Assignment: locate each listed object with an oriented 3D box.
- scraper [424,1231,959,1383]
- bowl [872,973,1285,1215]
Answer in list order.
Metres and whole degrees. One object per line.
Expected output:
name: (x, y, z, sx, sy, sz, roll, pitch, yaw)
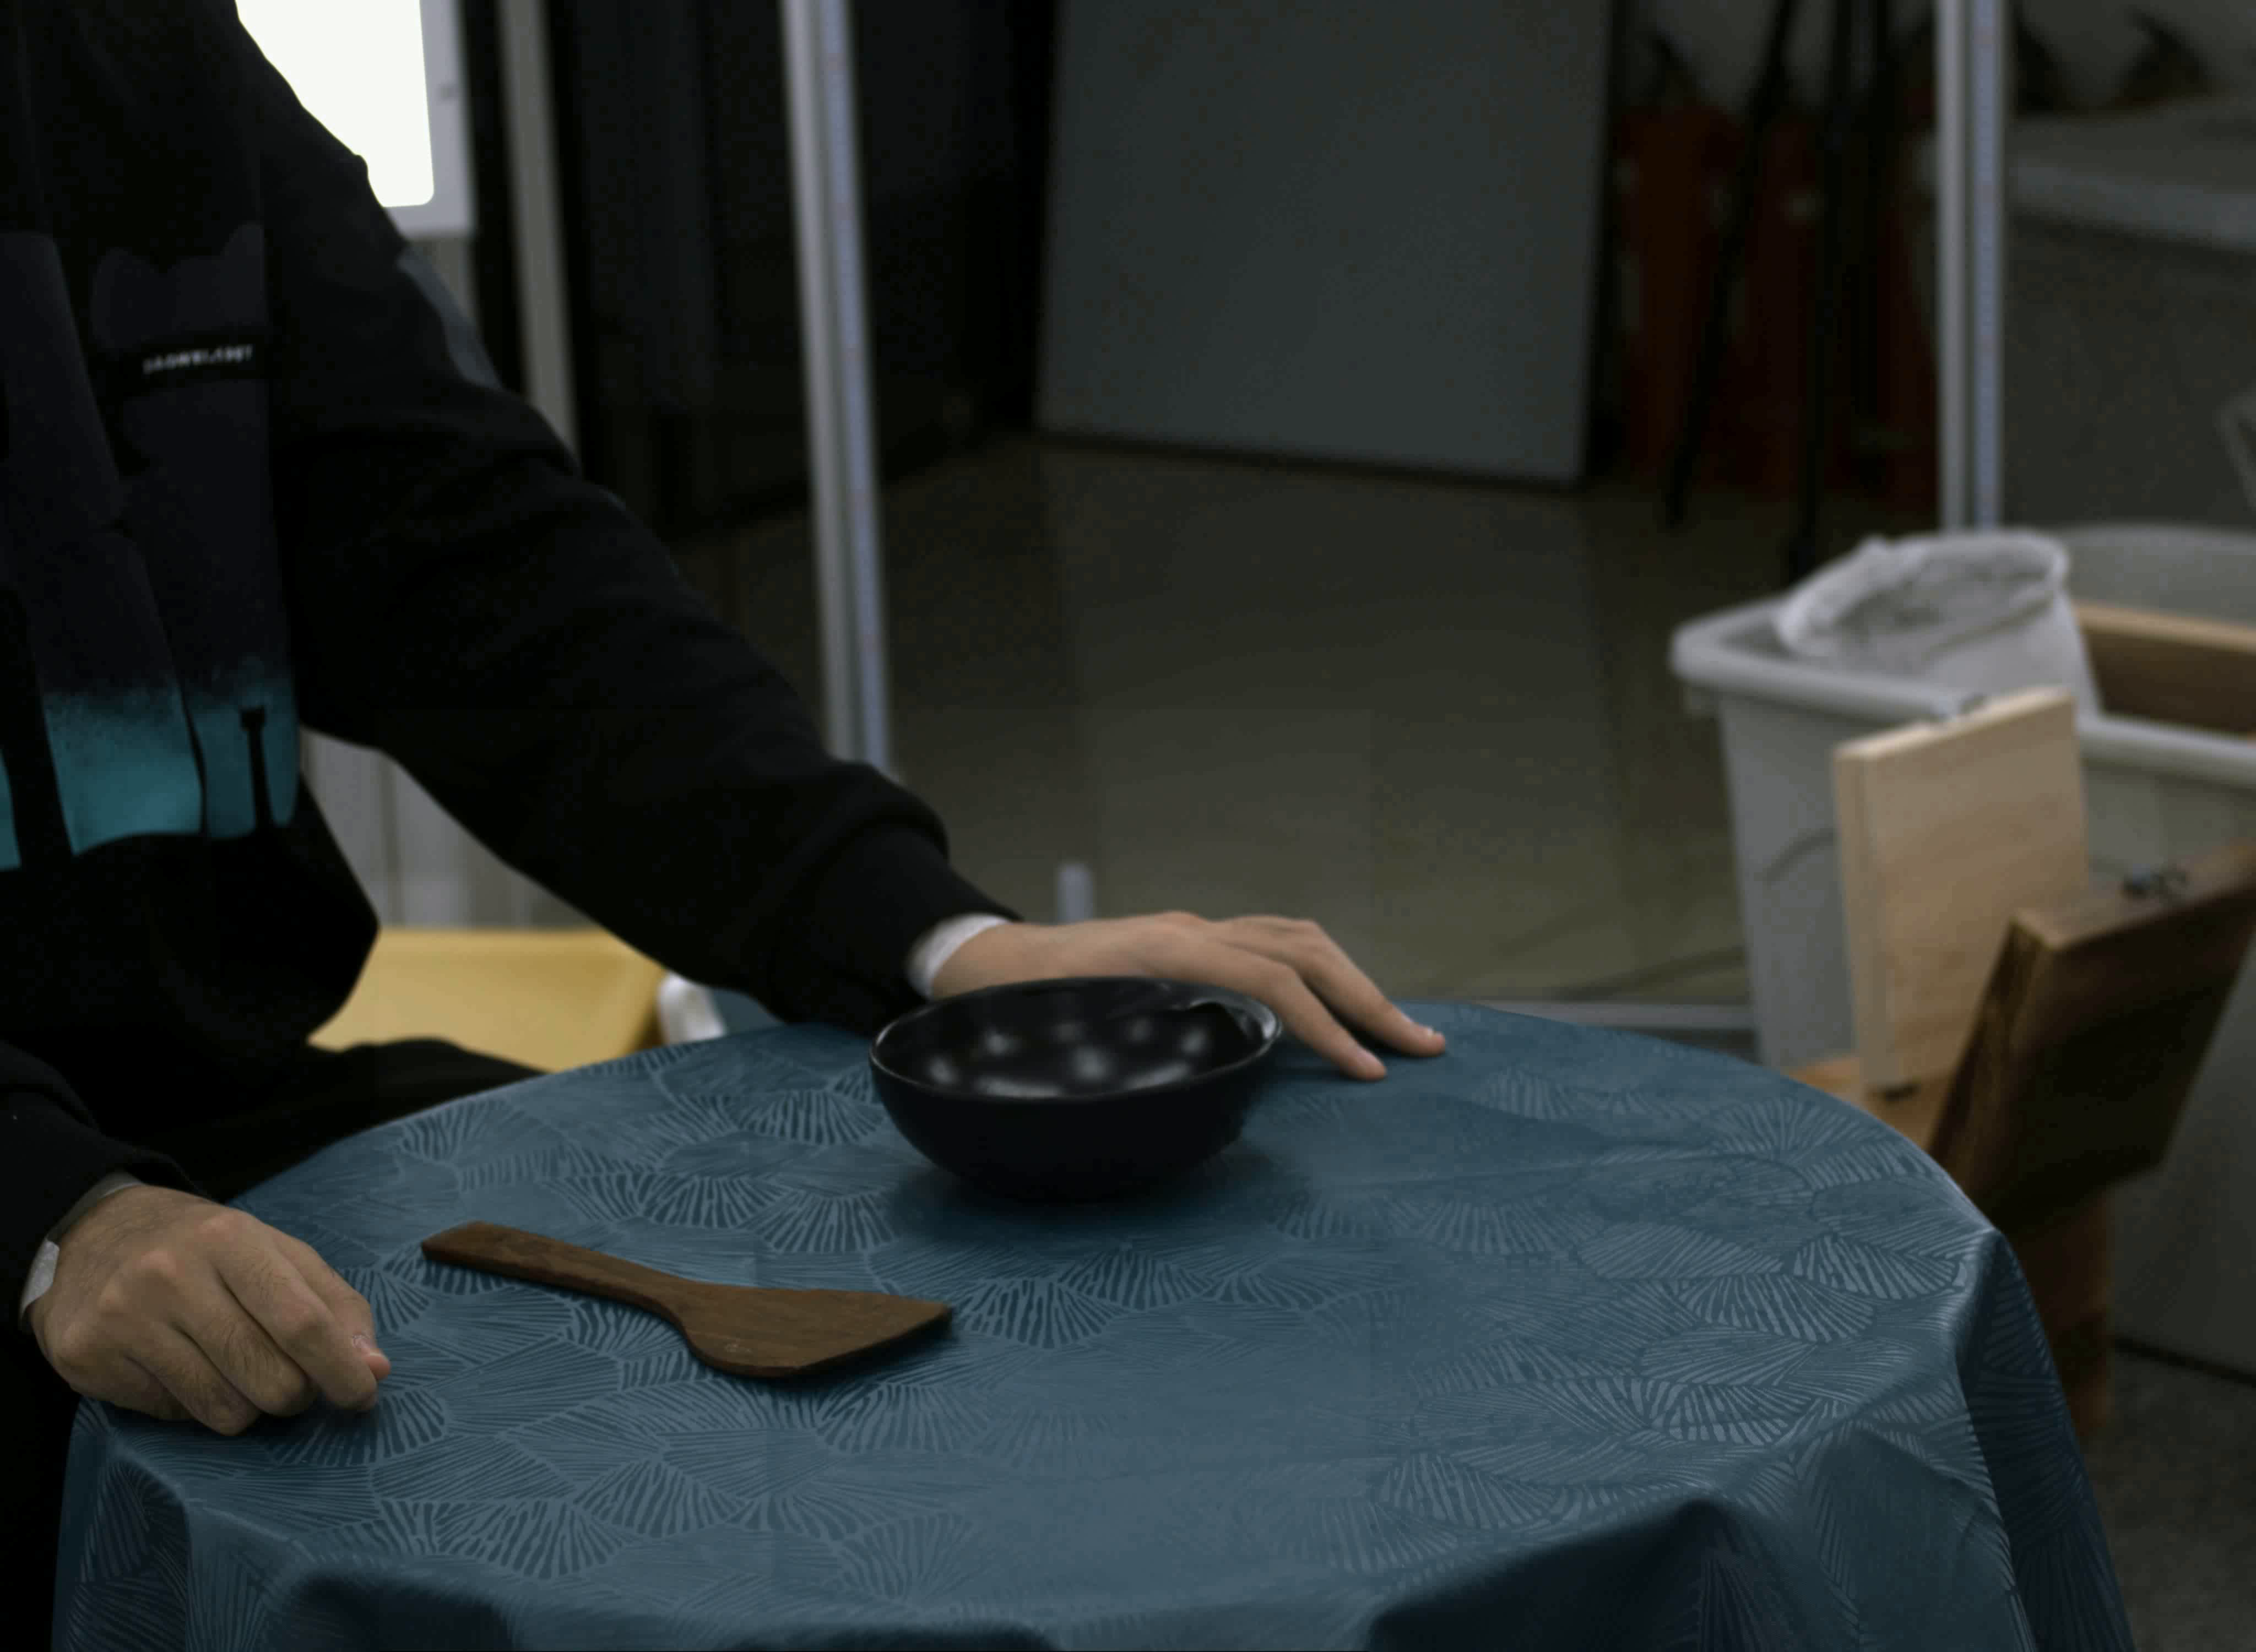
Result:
scraper: (-0.145, 0.148, 1.691, 0.213, 0.011, 0.074, 8, 18, 43)
bowl: (-0.014, 0.094, 1.789, 0.138, 0.050, 0.140, -6, 16, 1)
